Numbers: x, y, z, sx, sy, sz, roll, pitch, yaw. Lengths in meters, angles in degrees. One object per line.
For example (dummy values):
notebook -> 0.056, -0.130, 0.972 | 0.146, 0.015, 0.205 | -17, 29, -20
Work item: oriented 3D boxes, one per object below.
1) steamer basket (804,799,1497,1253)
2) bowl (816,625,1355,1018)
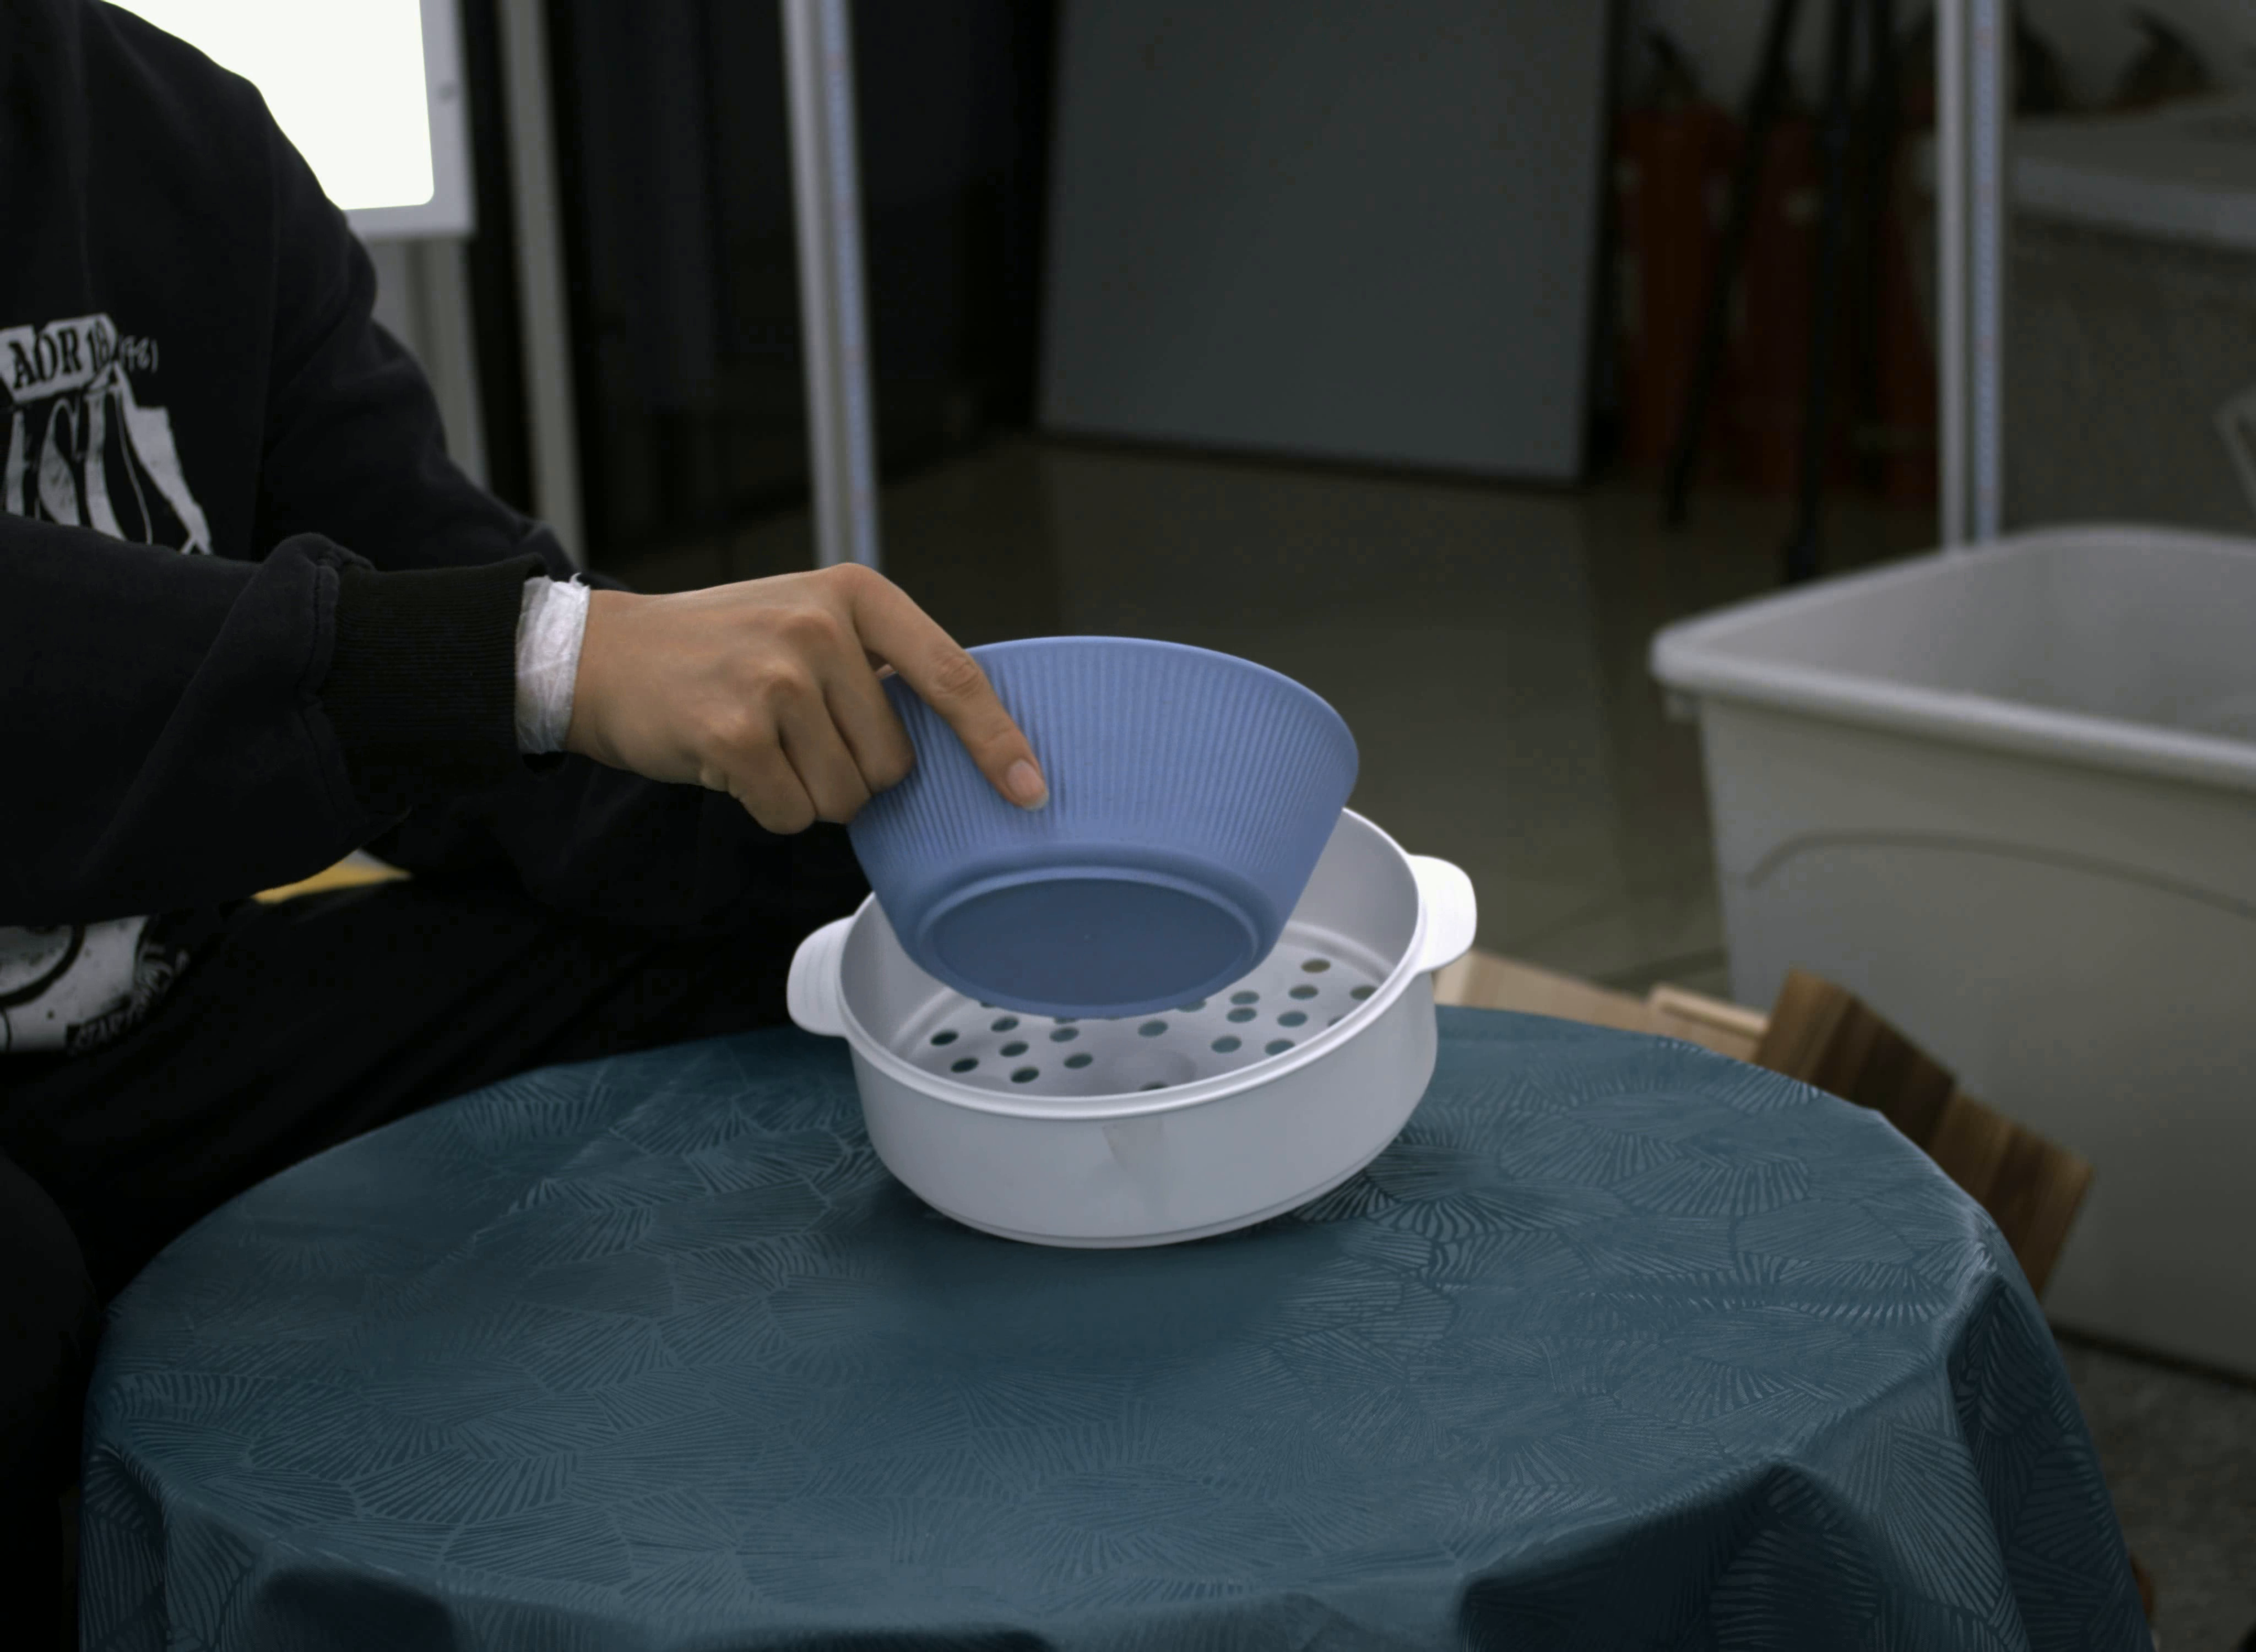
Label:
steamer basket -> 0.010, 0.061, 1.777 | 0.228, 0.069, 0.203 | -5, 30, 4
bowl -> -0.013, 0.007, 1.721 | 0.174, 0.071, 0.176 | 1, -28, -1
